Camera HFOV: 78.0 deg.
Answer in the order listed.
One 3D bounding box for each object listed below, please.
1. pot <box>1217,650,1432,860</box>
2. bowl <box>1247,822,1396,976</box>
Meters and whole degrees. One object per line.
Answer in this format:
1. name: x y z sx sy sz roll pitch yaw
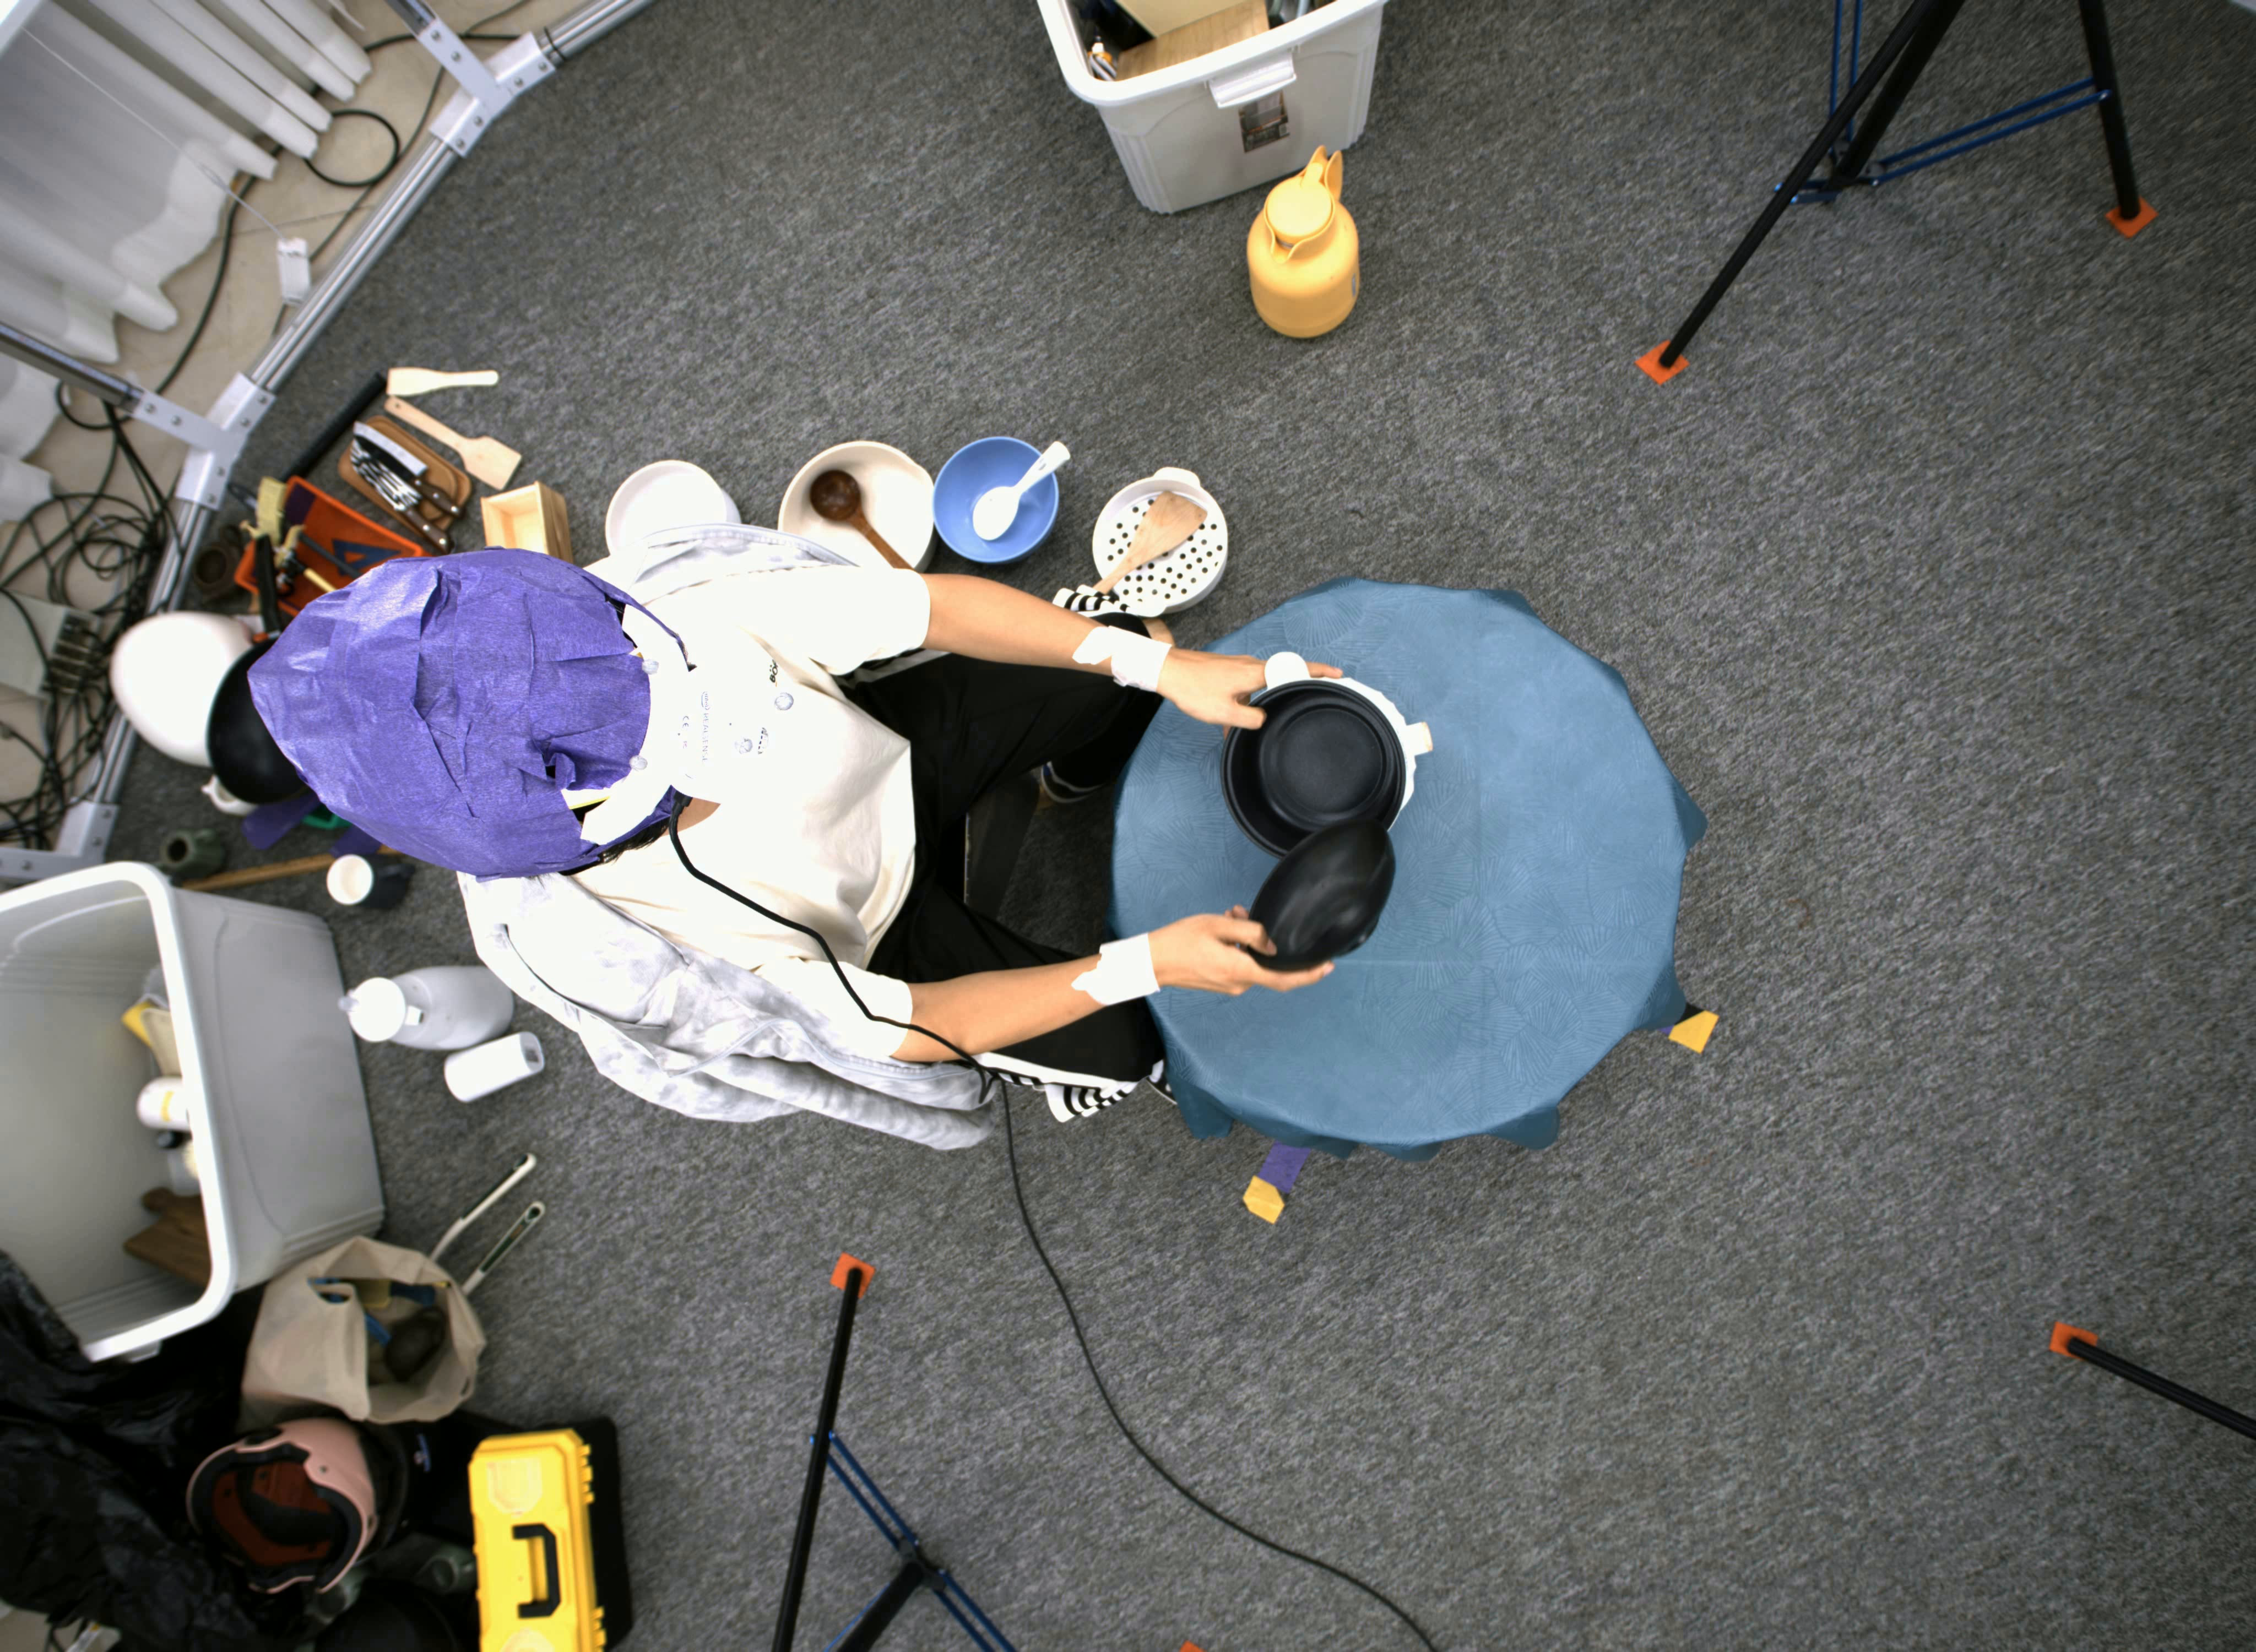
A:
1. pot: 0.199 -0.066 1.373 0.192 0.140 0.241 -13 98 25
2. bowl: 0.184 0.076 1.252 0.170 0.136 0.067 -47 116 1
